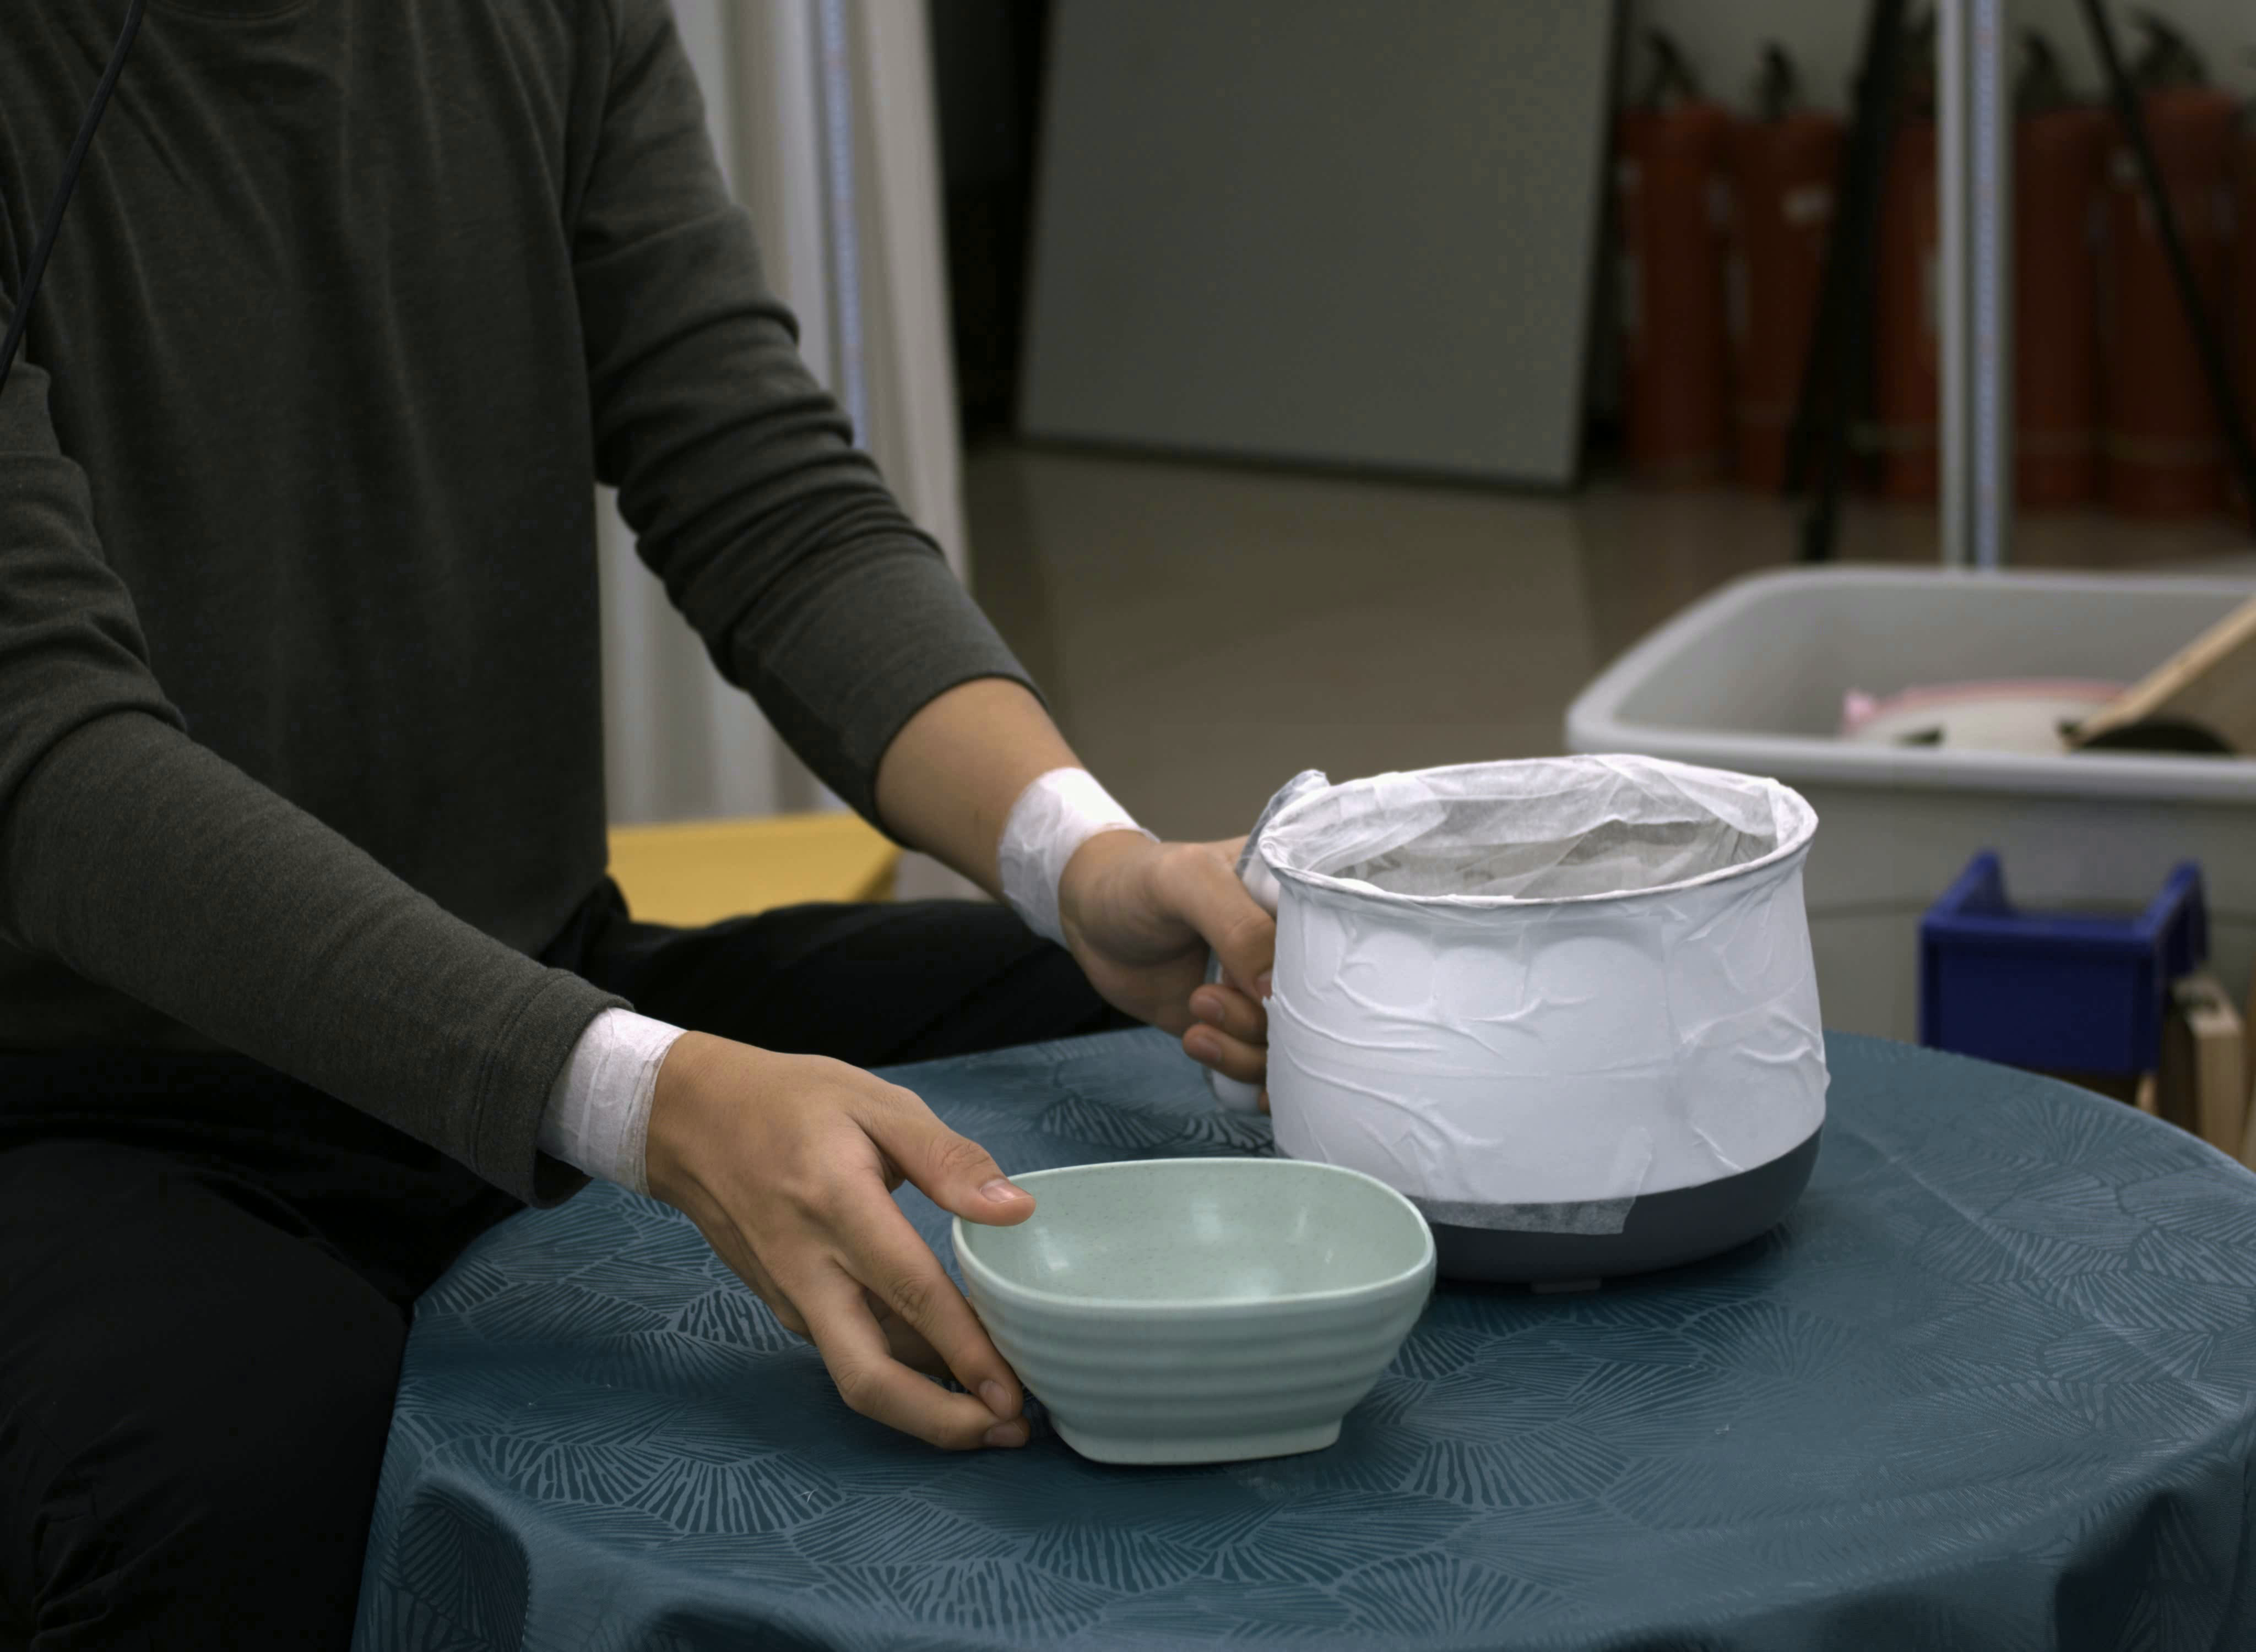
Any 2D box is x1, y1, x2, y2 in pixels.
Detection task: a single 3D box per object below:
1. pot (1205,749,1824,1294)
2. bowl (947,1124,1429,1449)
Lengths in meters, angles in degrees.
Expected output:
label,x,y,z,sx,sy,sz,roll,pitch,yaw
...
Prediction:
label,x,y,z,sx,sy,sz,roll,pitch,yaw
pot,0.112,0.056,1.717,0.175,0.138,0.236,-16,18,-42
bowl,0.015,0.136,1.552,0.149,0.059,0.152,5,15,-2
